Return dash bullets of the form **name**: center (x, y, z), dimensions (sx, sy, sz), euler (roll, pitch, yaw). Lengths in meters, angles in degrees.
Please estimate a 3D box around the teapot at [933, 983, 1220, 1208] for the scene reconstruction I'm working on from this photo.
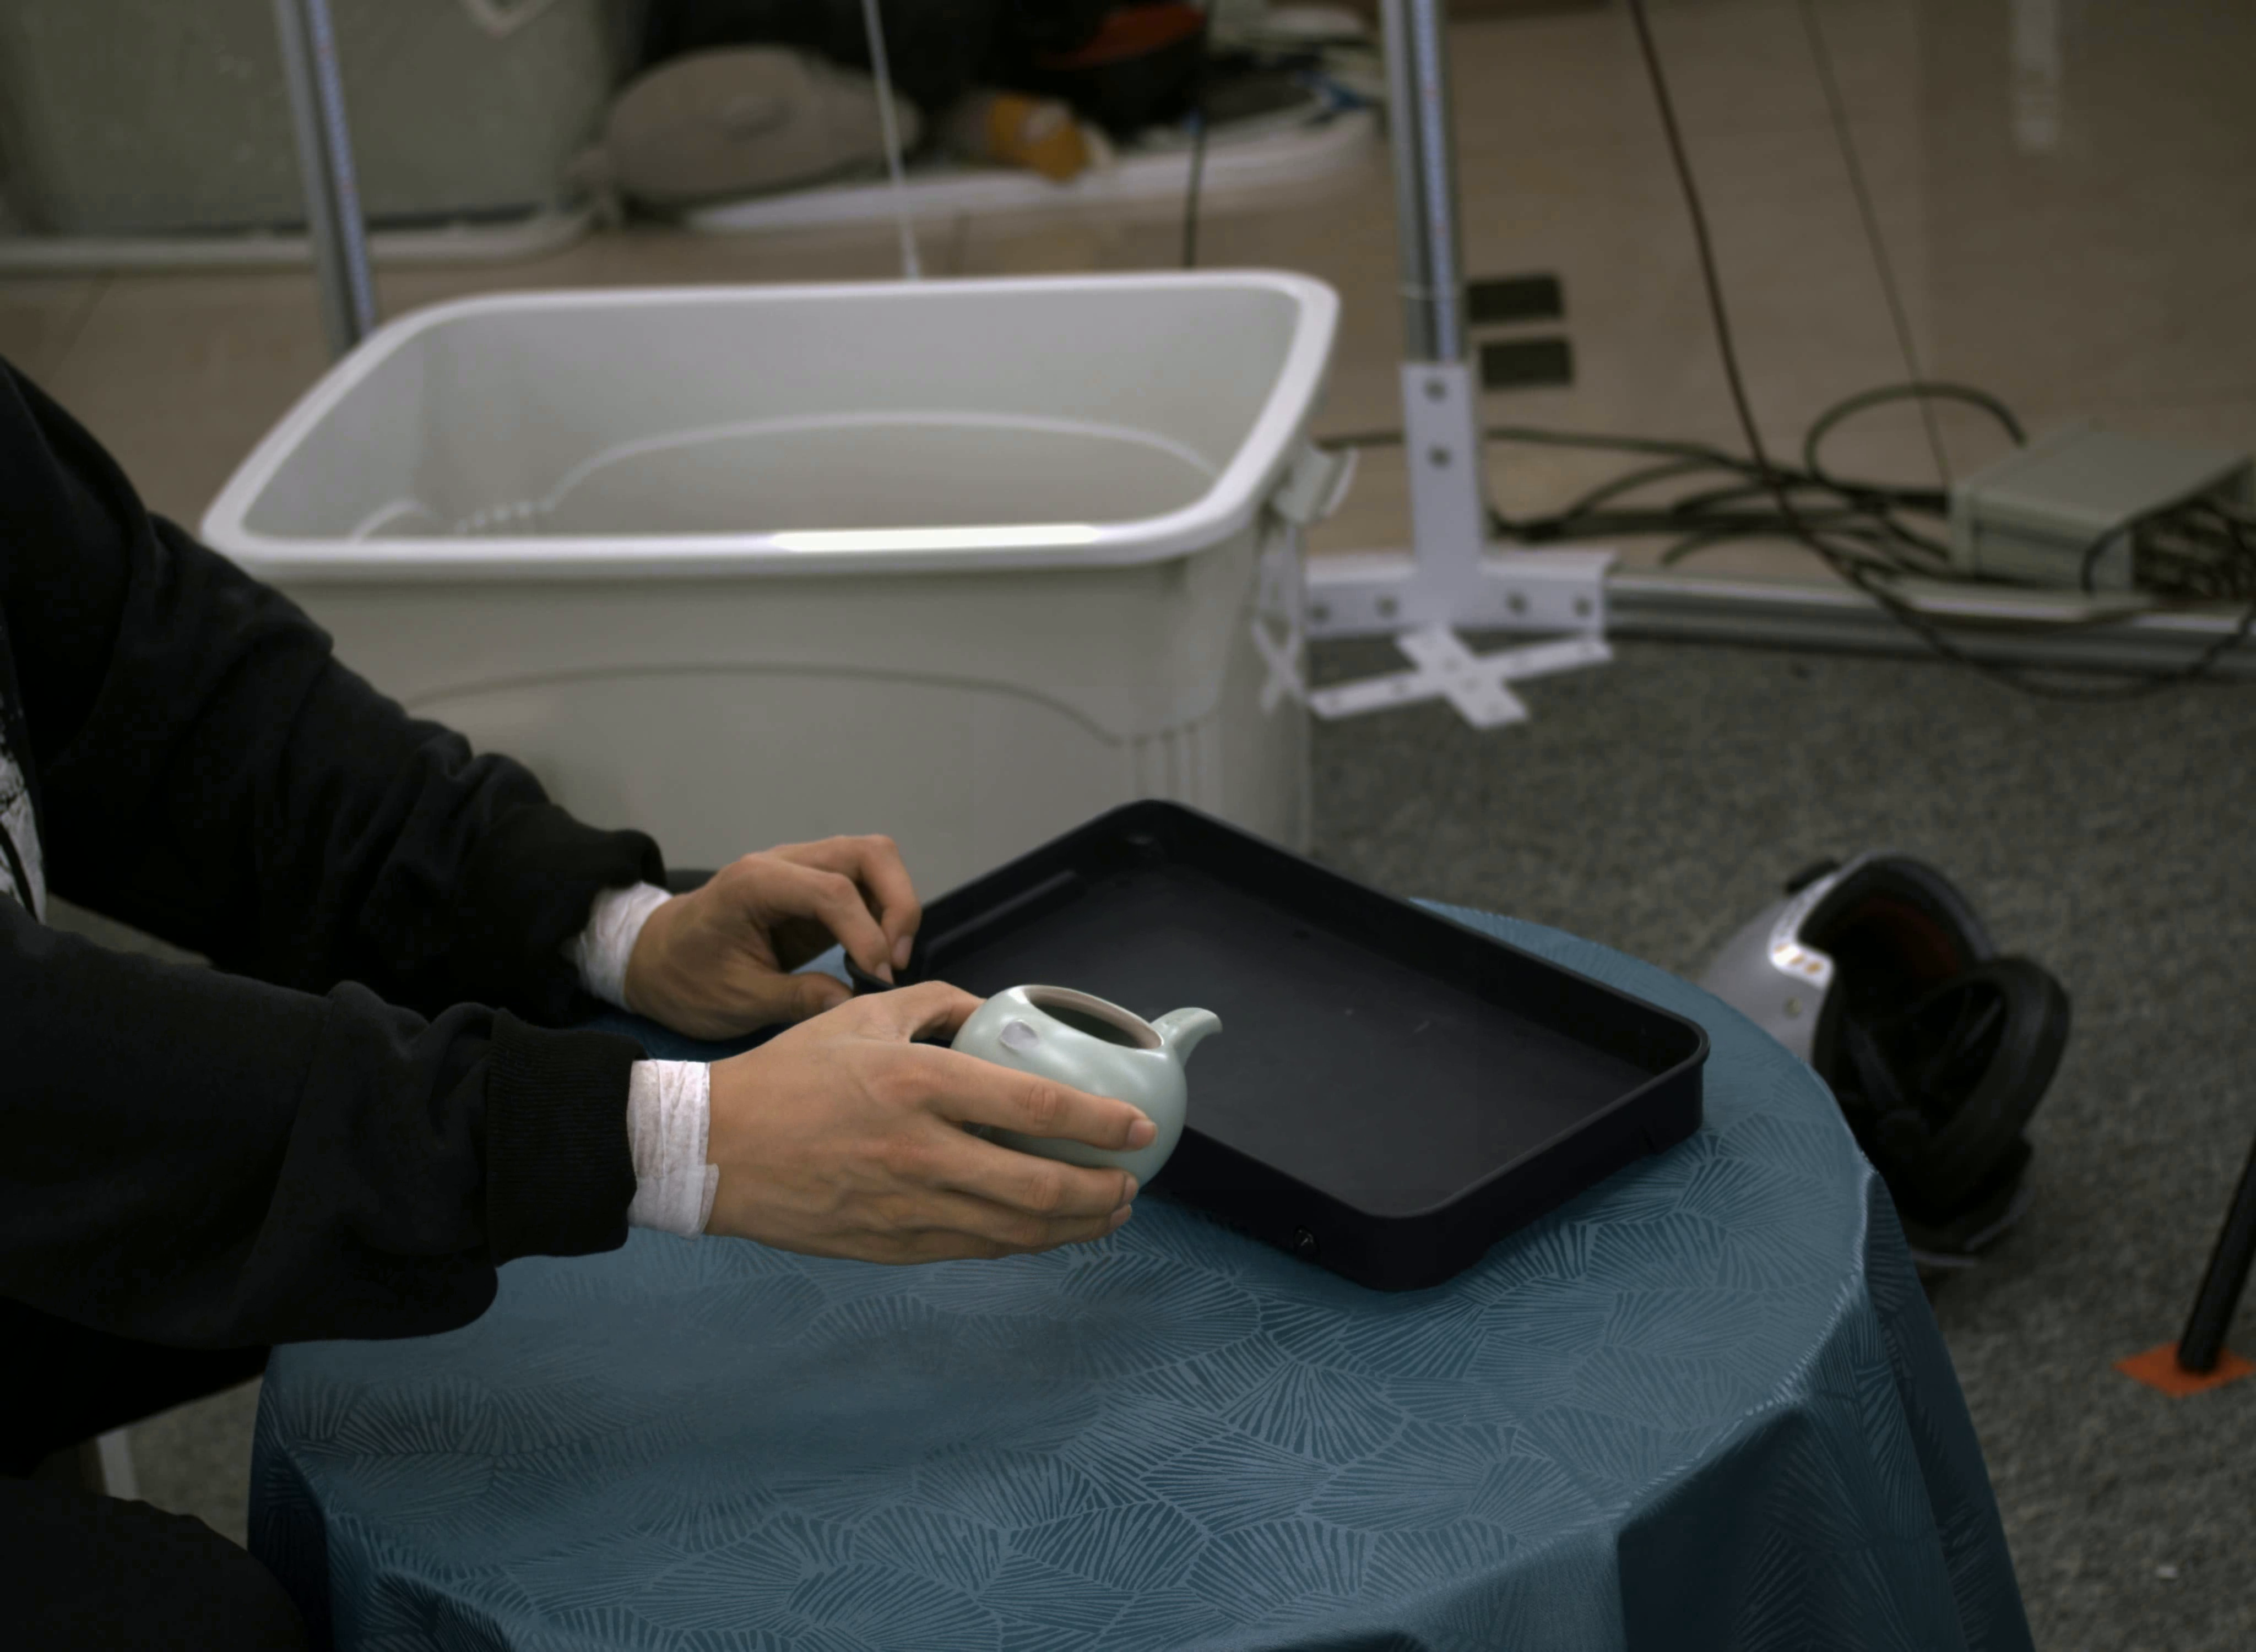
- **teapot**: center (-0.024, 0.095, 2.027), dimensions (0.087, 0.075, 0.144), euler (31, 14, 37)

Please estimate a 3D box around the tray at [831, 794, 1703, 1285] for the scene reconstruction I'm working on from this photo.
- **tray**: center (0.051, 0.078, 2.199), dimensions (0.315, 0.037, 0.182), euler (22, 38, 39)
